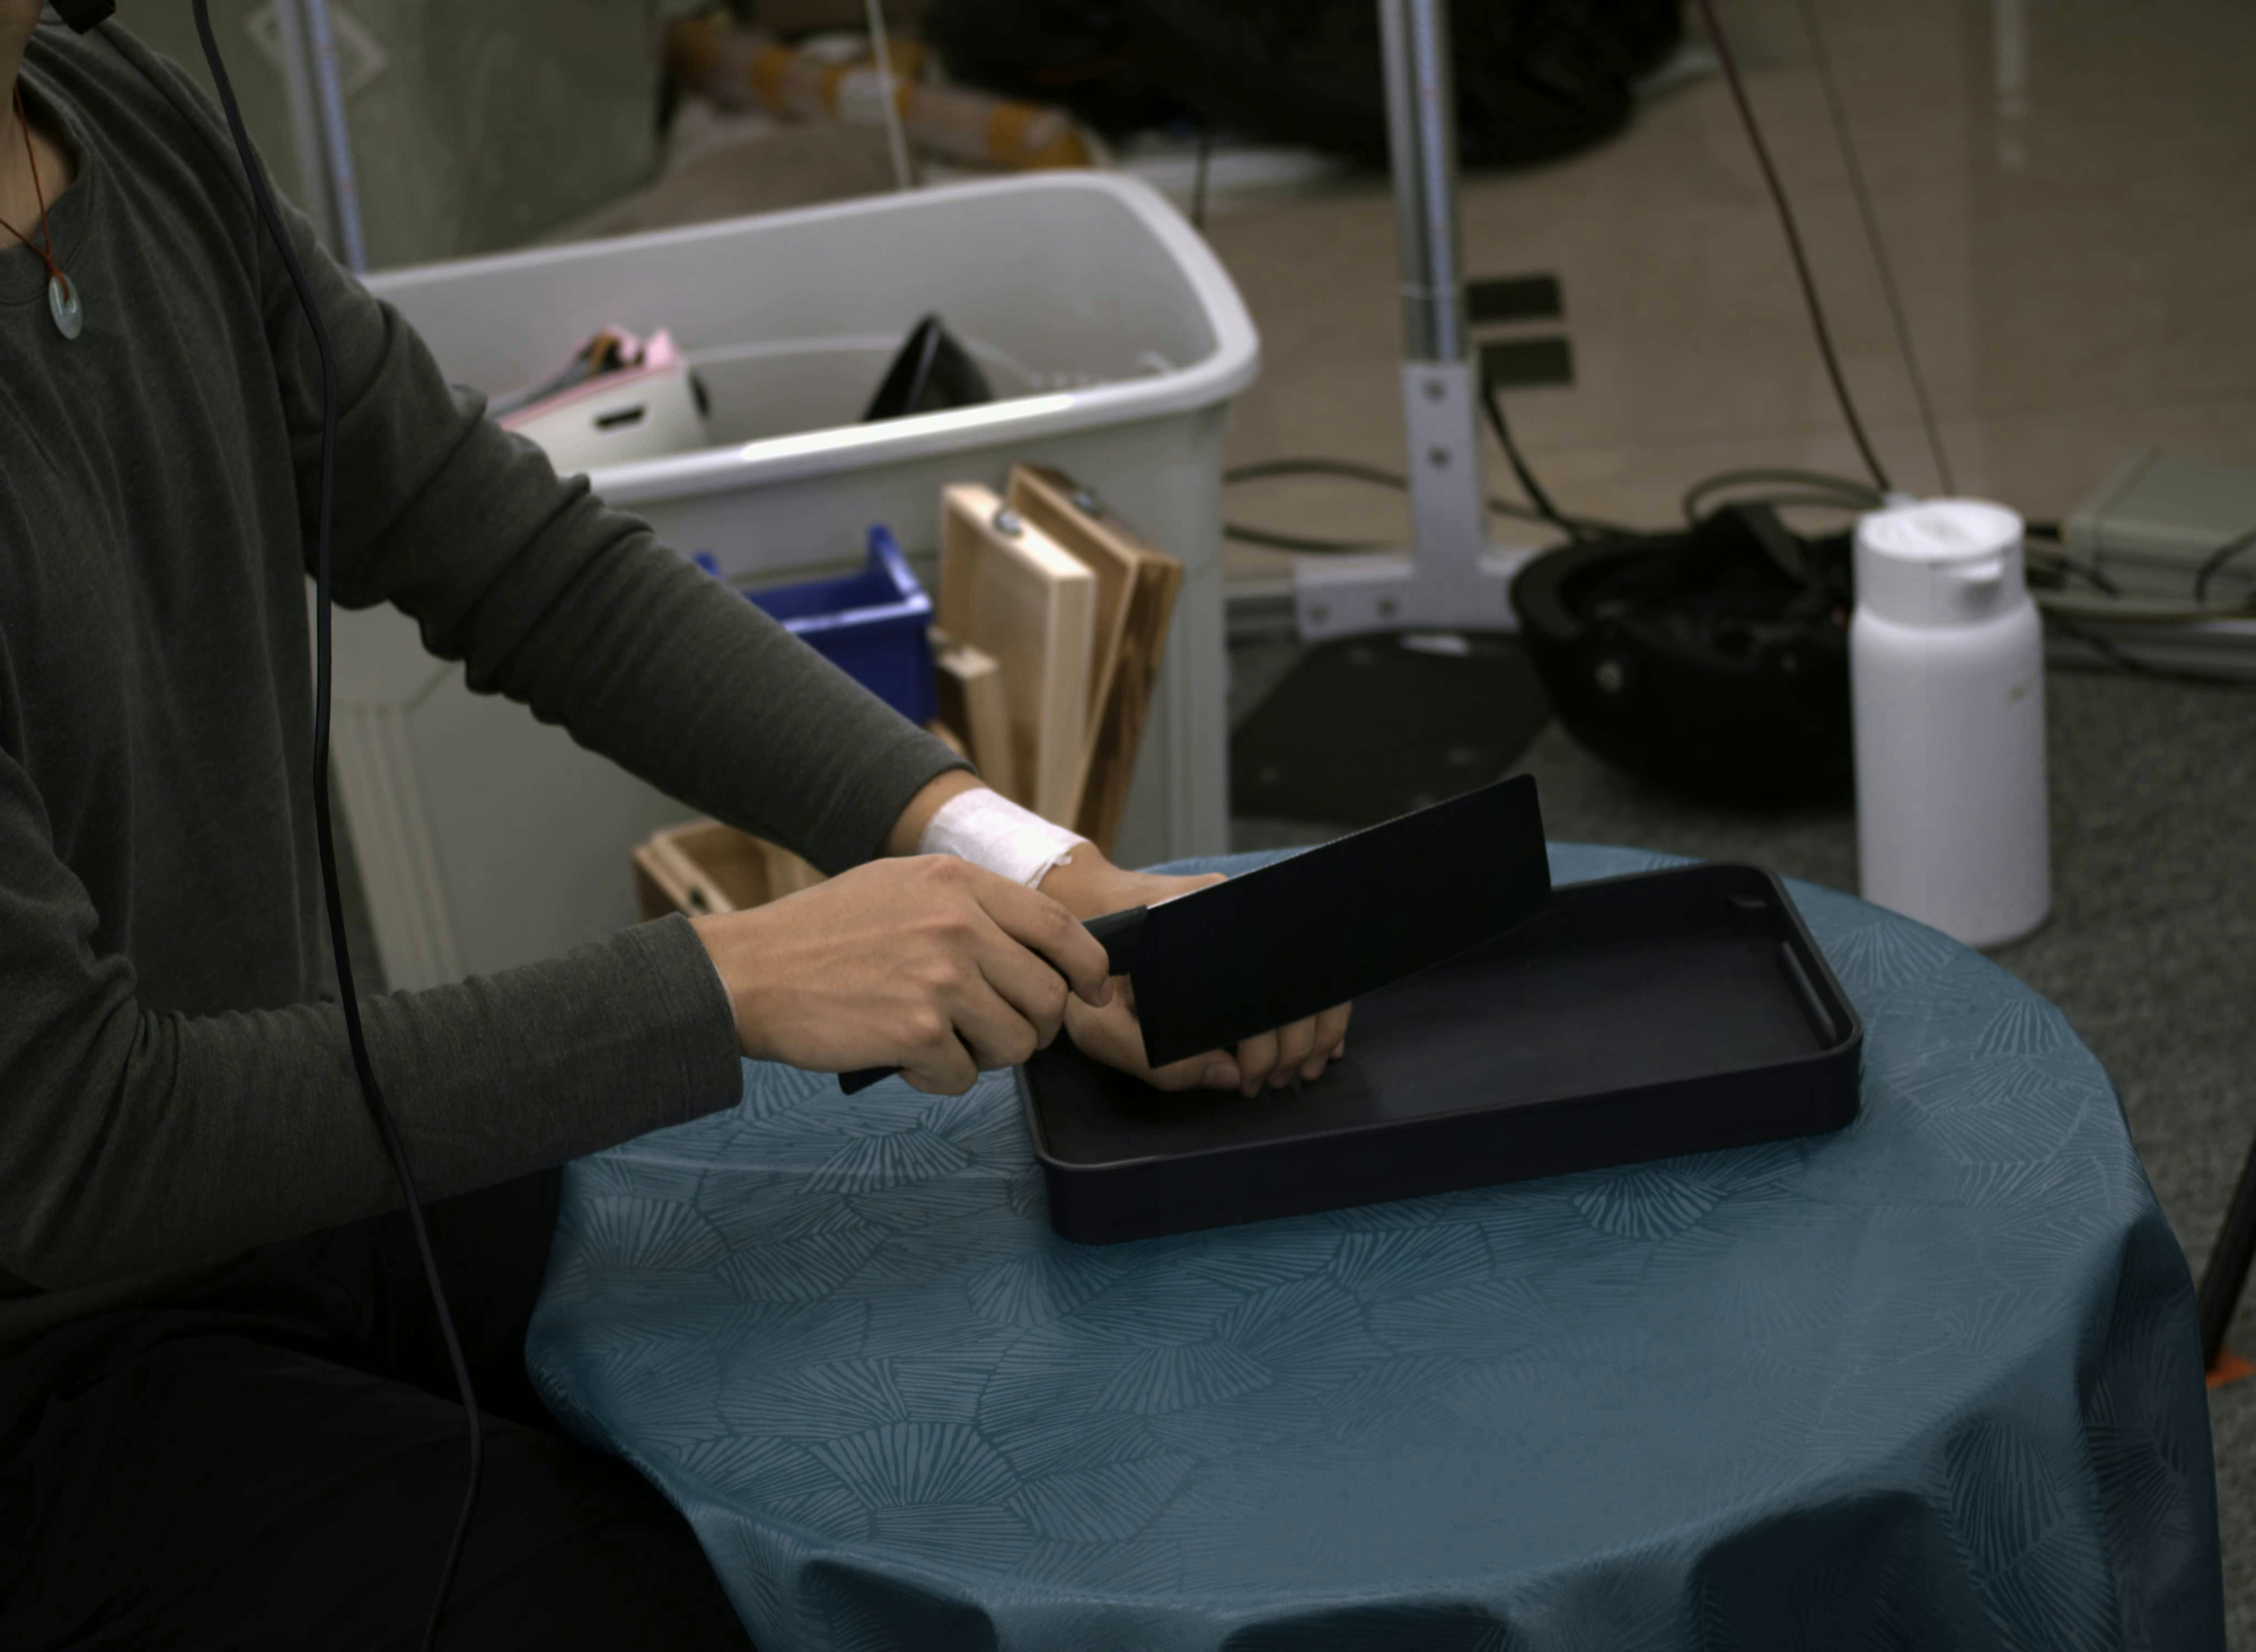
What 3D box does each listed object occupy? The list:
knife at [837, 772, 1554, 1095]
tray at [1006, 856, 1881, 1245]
[{"bbox_3d":[0.029,0.050,2.152,0.301,0.082,0.020,-15,24,-21],"label":"knife"},{"bbox_3d":[0.119,0.084,2.196,0.317,0.037,0.181,-9,25,-6],"label":"tray"}]
